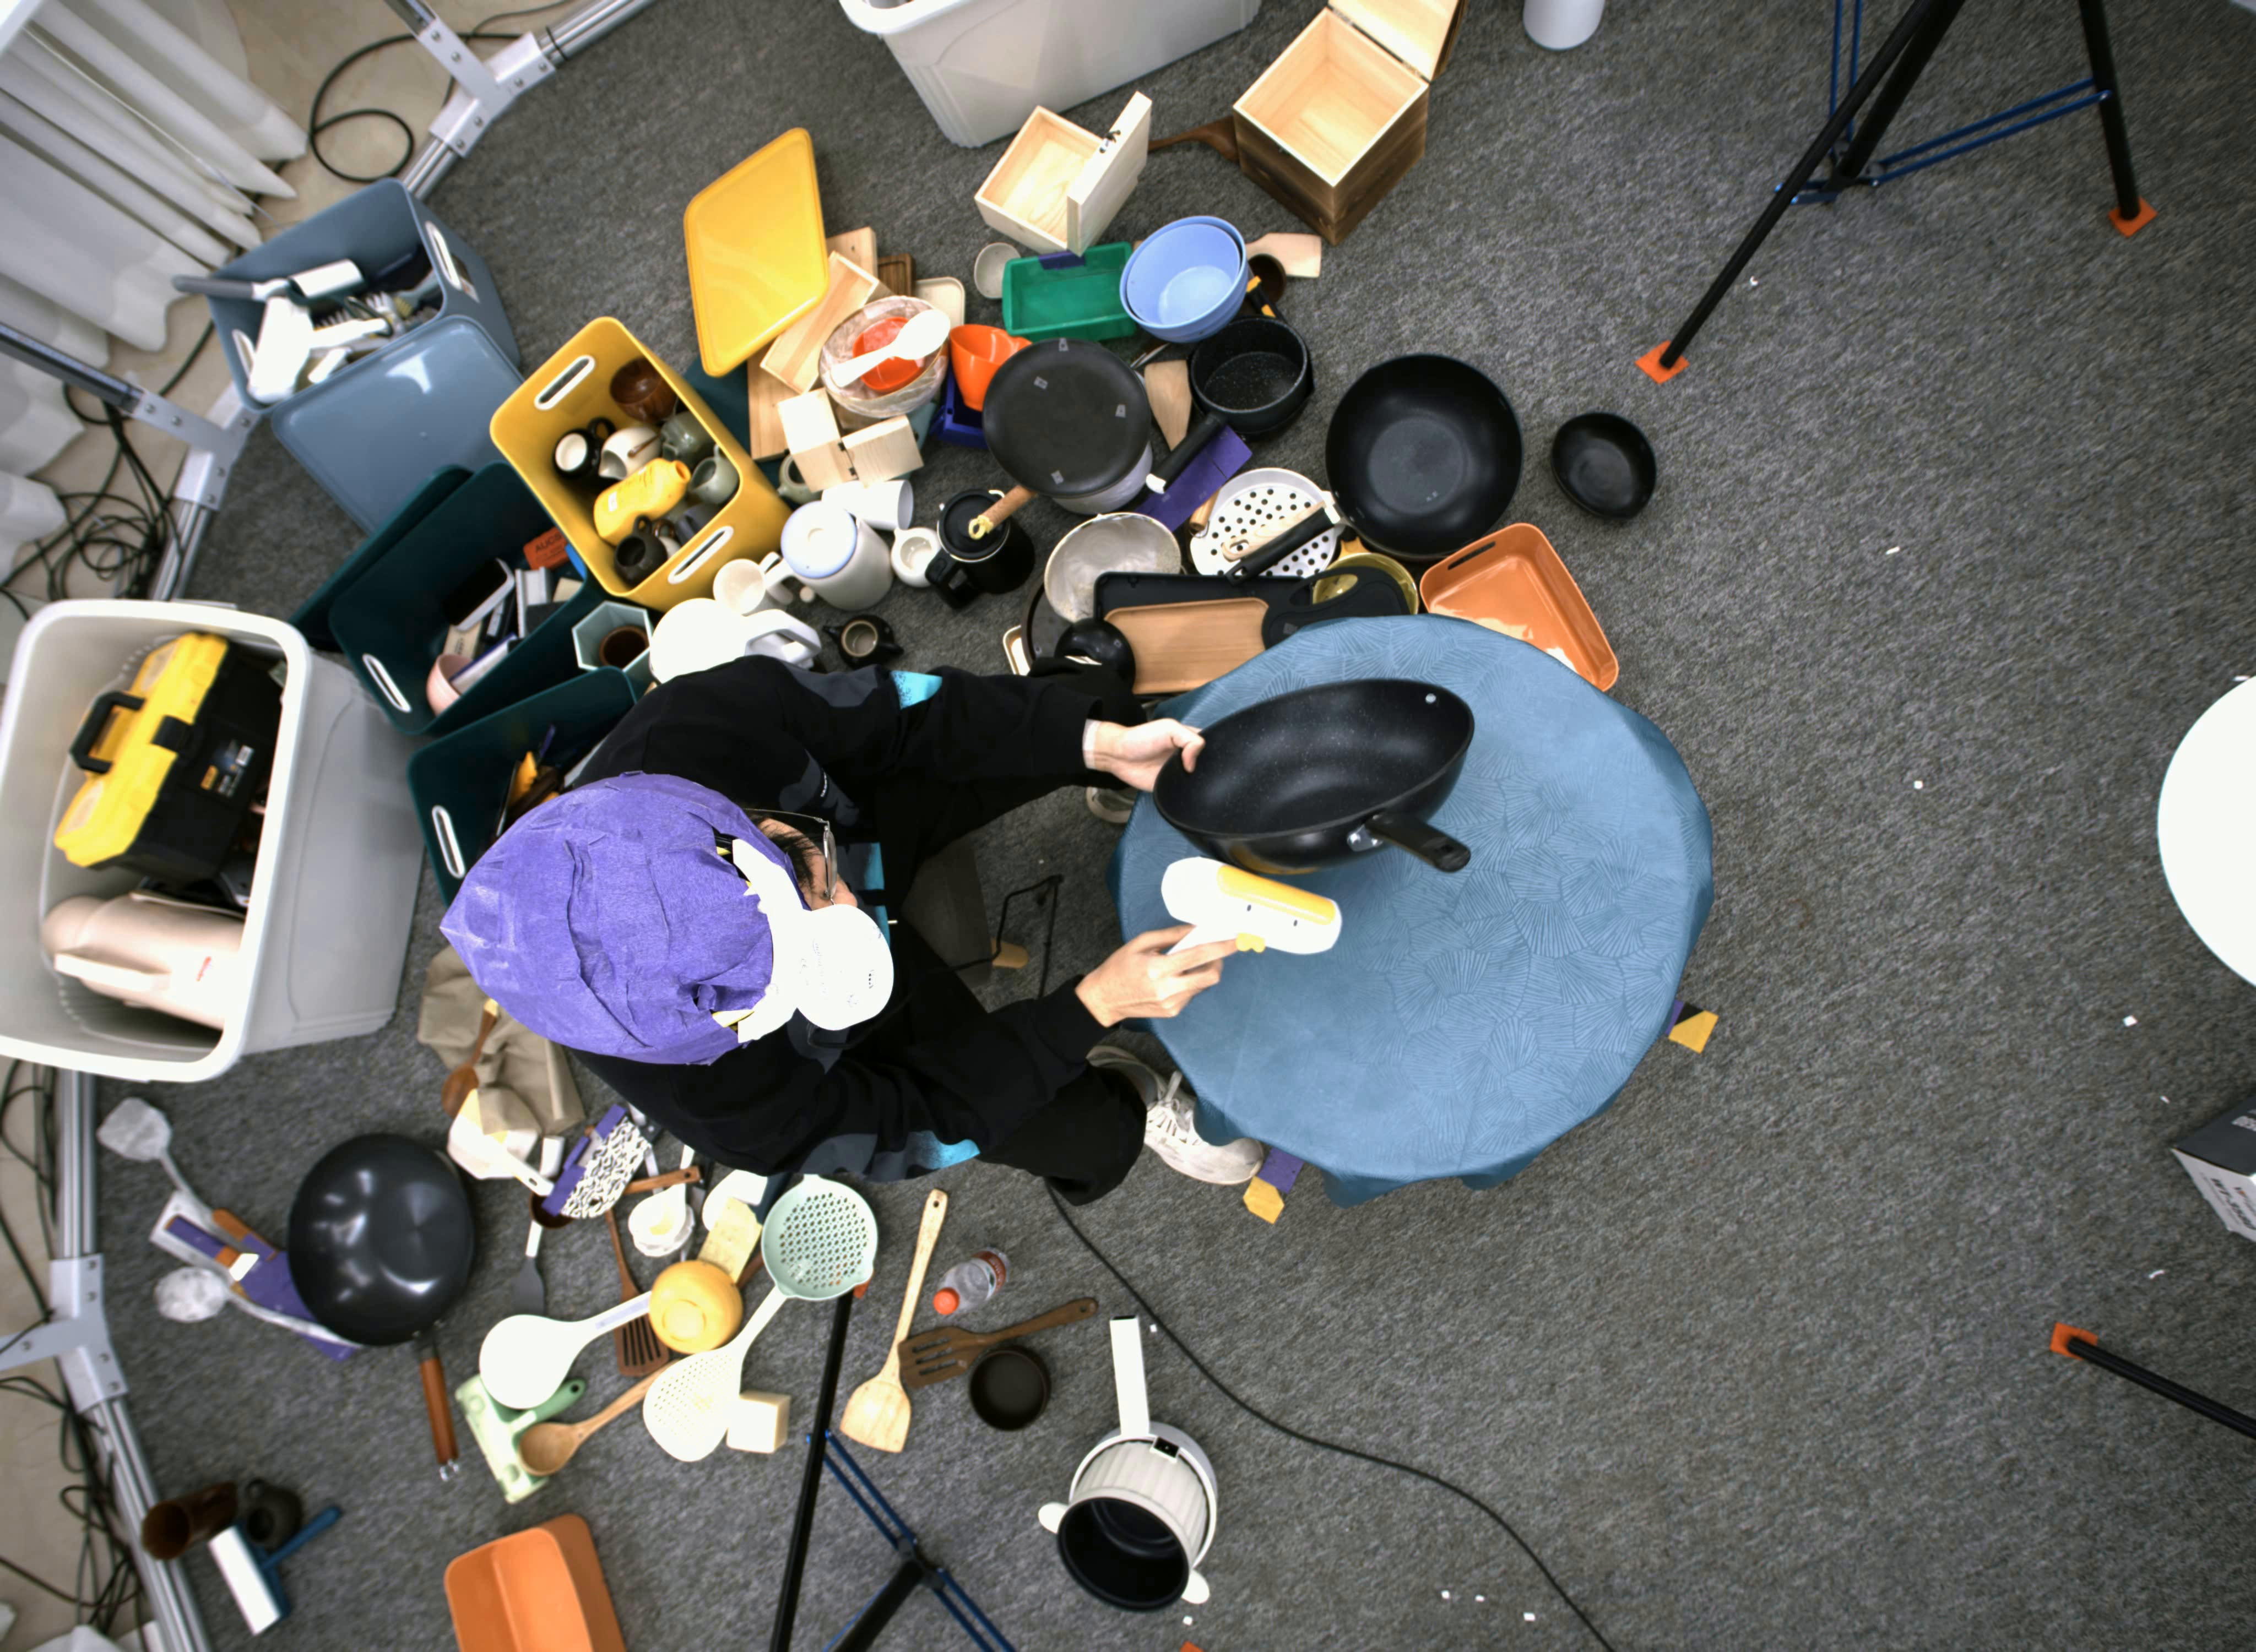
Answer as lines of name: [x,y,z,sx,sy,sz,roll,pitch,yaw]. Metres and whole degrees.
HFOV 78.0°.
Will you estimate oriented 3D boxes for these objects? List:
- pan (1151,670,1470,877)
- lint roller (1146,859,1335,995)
pan: [0.198,-0.019,1.242,0.310,0.469,0.113,-24,117,-4]
lint roller: [0.078,0.104,1.334,0.196,0.192,0.072,-37,51,47]
